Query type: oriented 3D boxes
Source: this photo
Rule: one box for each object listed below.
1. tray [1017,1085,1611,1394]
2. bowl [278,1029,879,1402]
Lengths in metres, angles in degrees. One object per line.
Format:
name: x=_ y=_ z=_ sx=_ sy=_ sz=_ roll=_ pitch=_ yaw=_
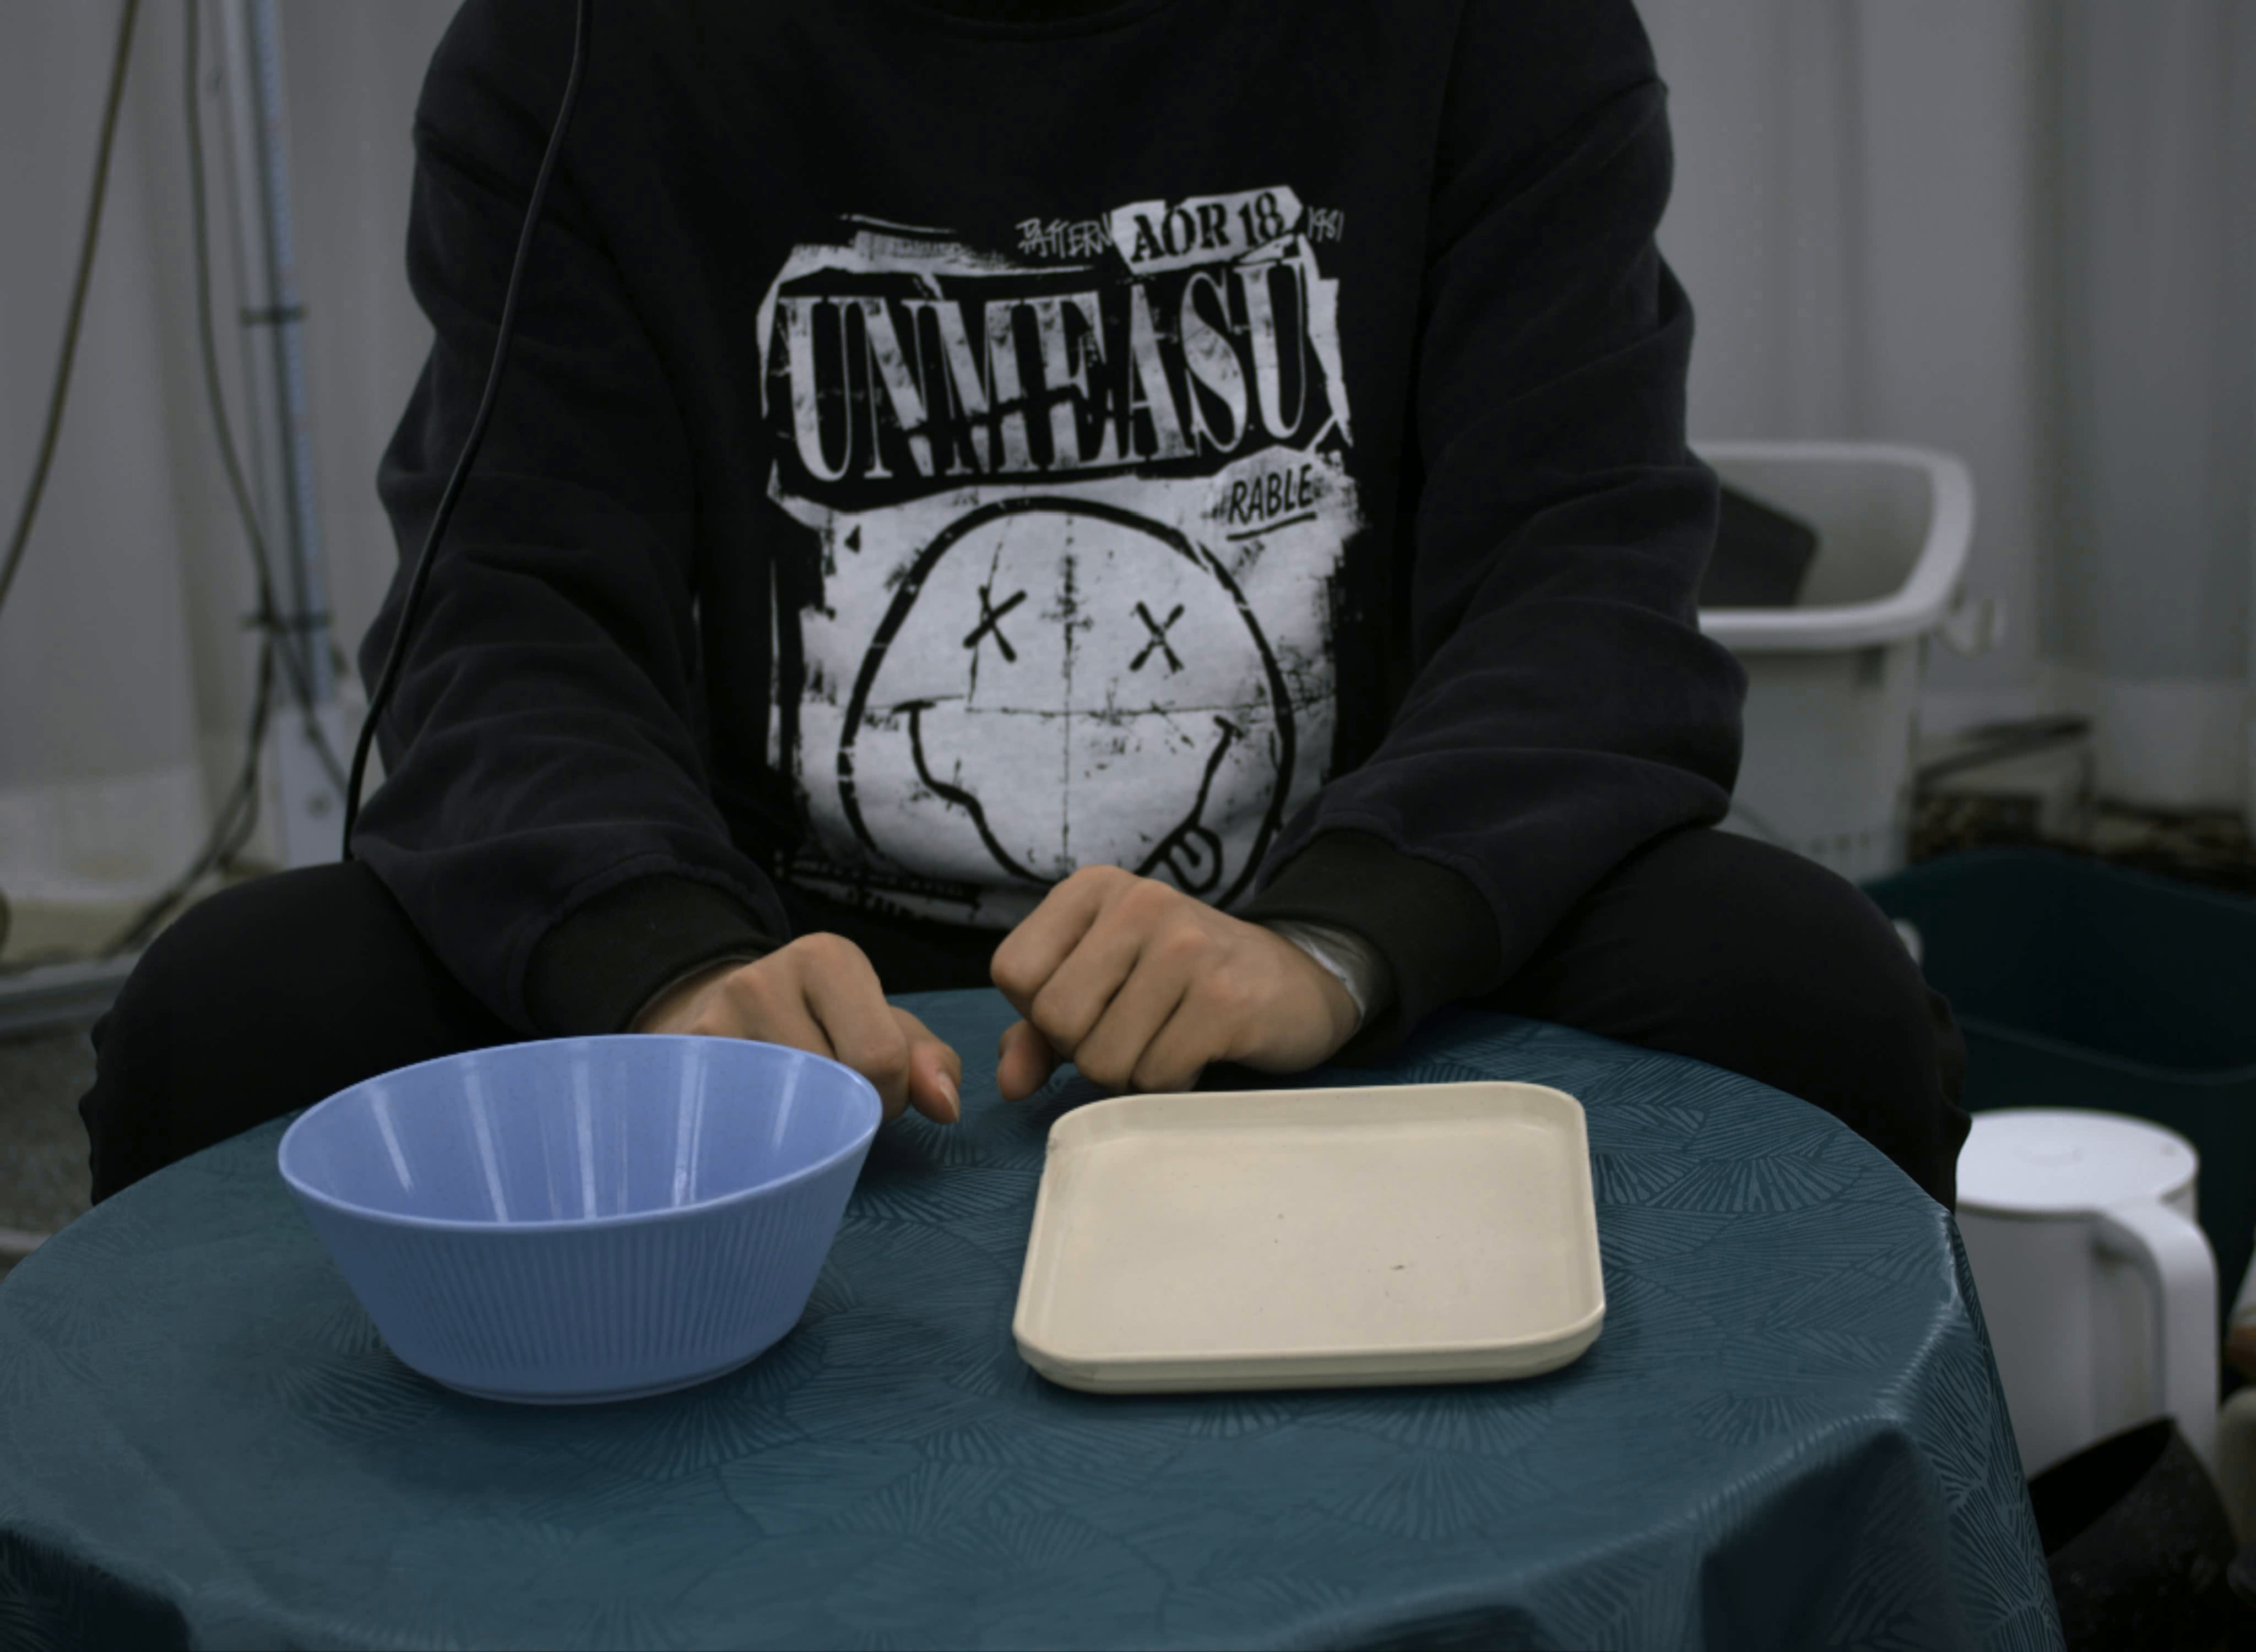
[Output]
tray: x=0.056 y=0.123 z=1.639 sx=0.171 sy=0.017 sz=0.241 roll=-1 pitch=15 yaw=3
bowl: x=-0.158 y=0.117 z=1.600 sx=0.175 sy=0.070 sz=0.177 roll=-3 pitch=16 yaw=0
